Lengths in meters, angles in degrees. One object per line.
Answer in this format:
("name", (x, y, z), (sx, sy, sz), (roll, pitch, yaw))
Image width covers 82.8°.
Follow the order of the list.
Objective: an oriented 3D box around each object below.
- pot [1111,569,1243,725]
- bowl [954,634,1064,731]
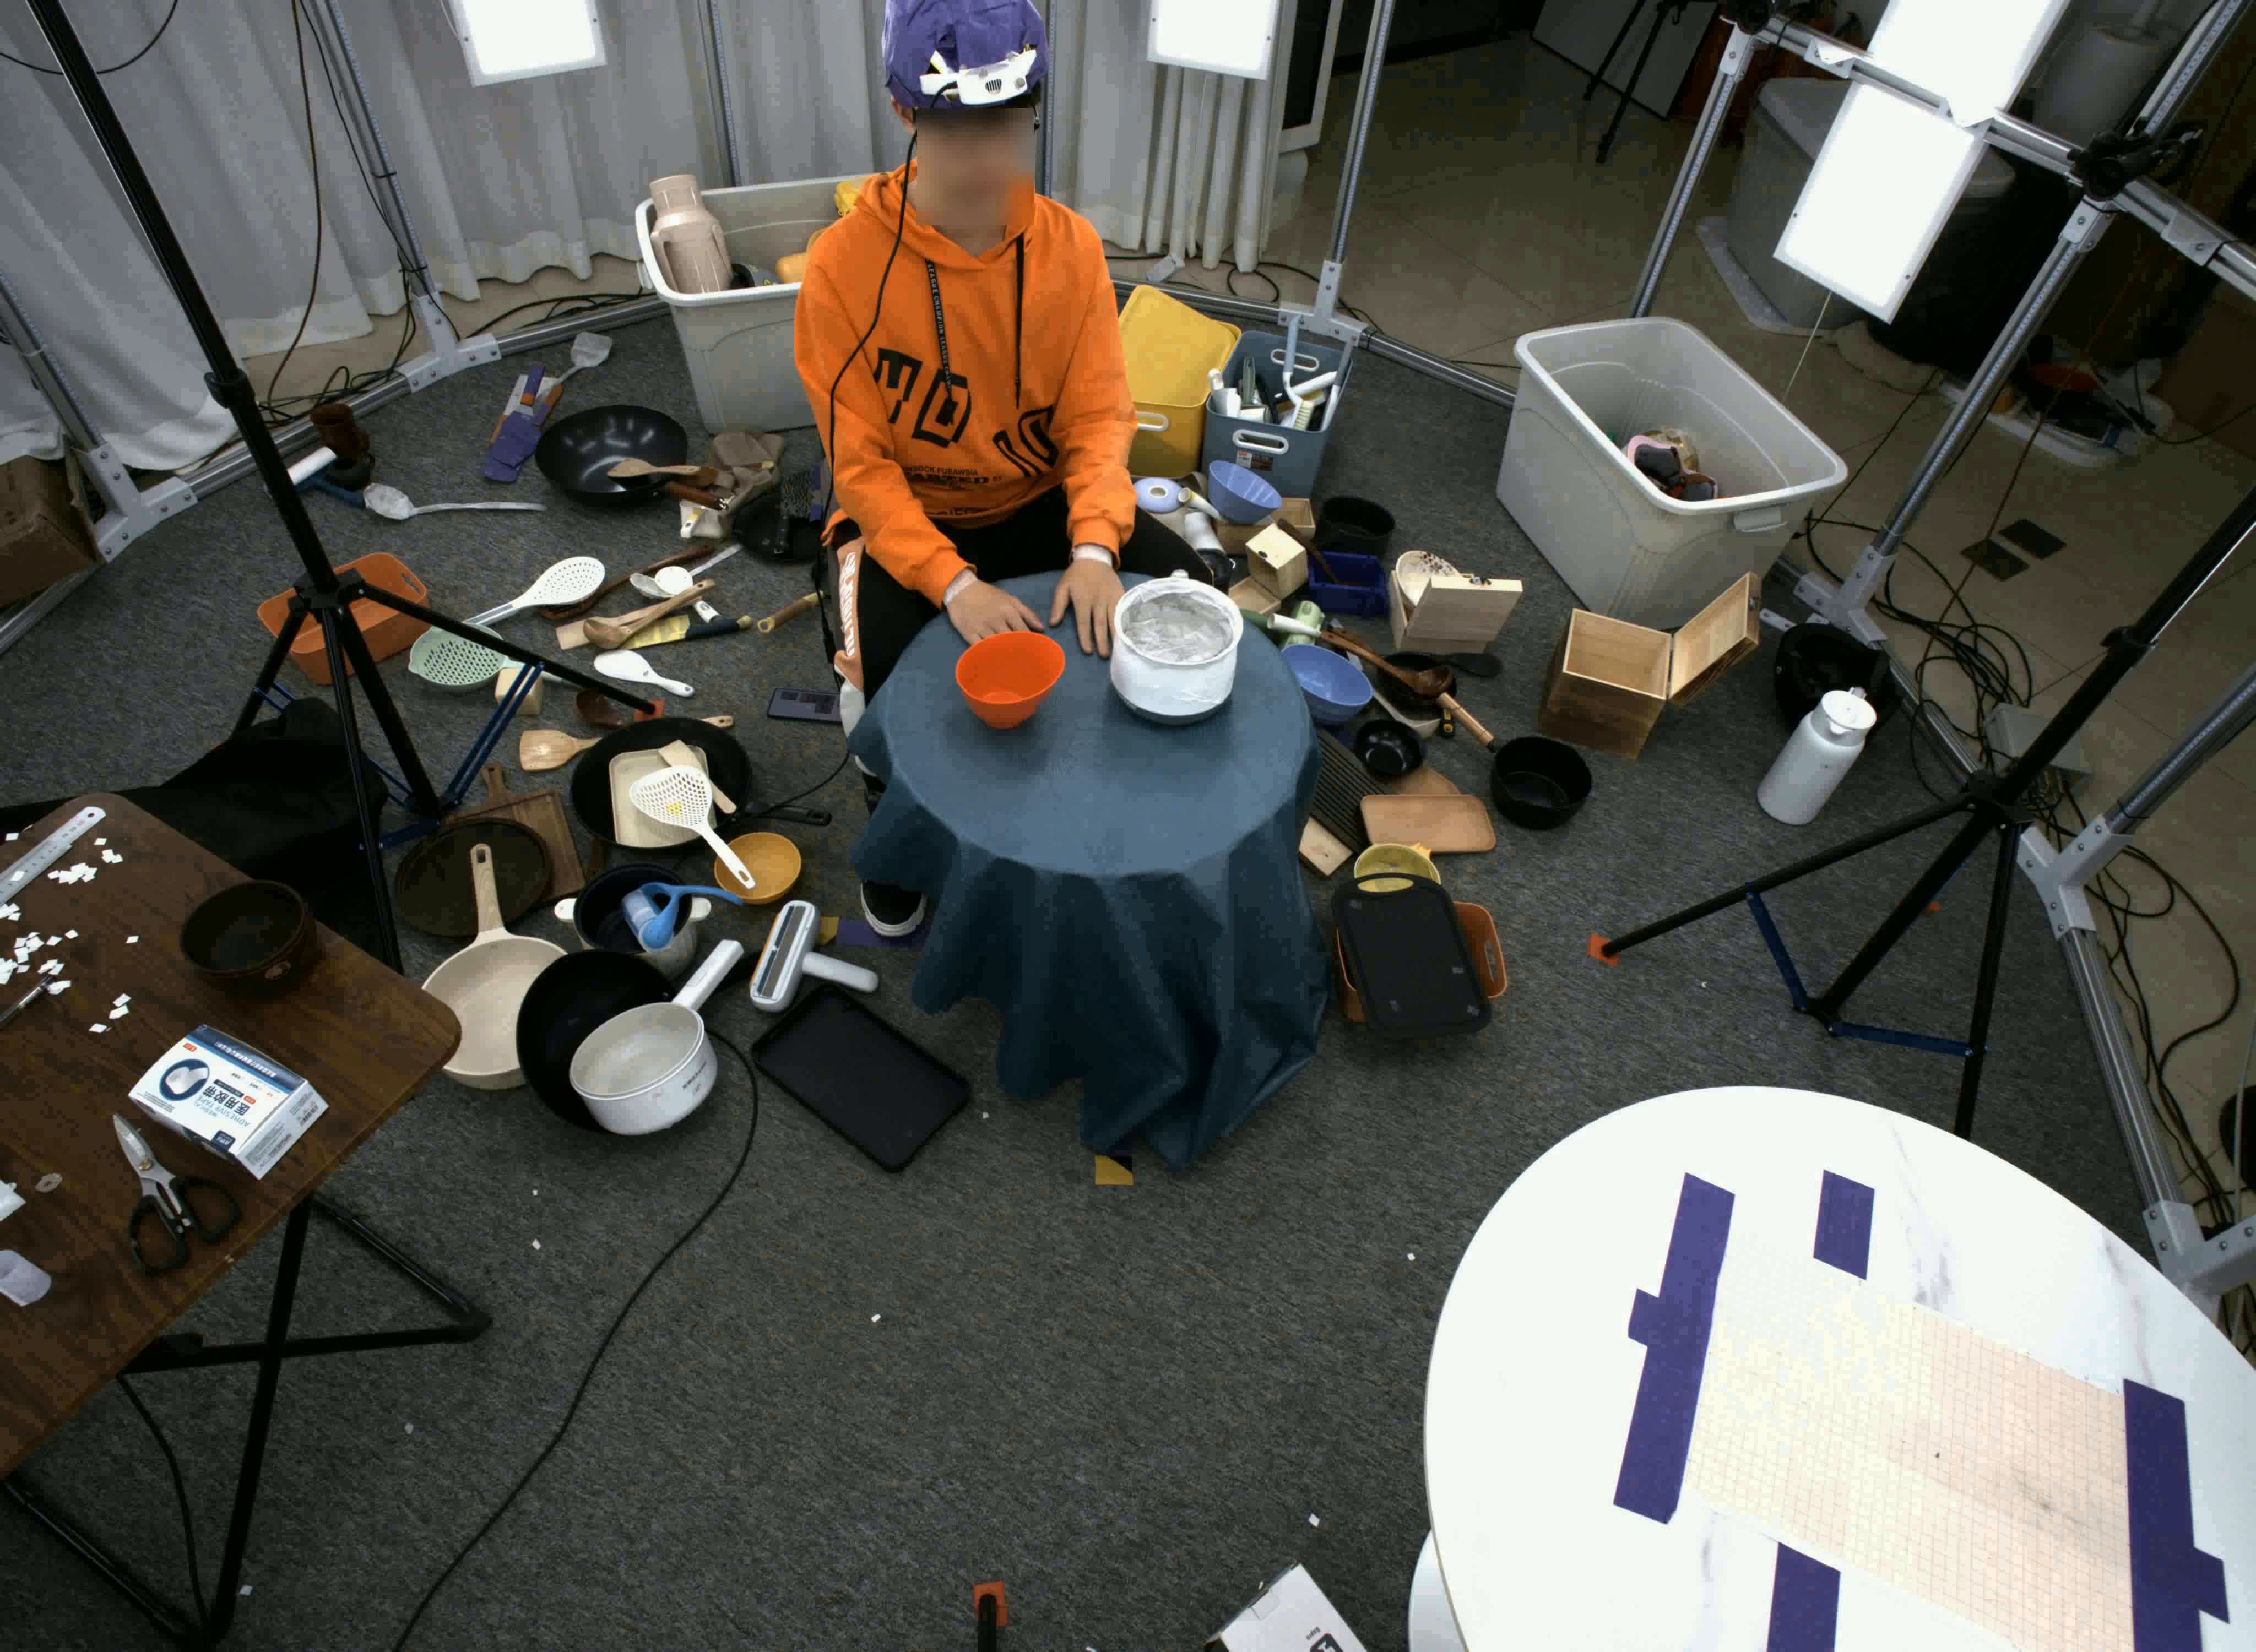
("pot", (0.066, -0.262, 1.812), (0.178, 0.133, 0.239), (4, 49, -2))
("bowl", (-0.162, -0.186, 1.758), (0.148, 0.102, 0.152), (1, 49, -2))
